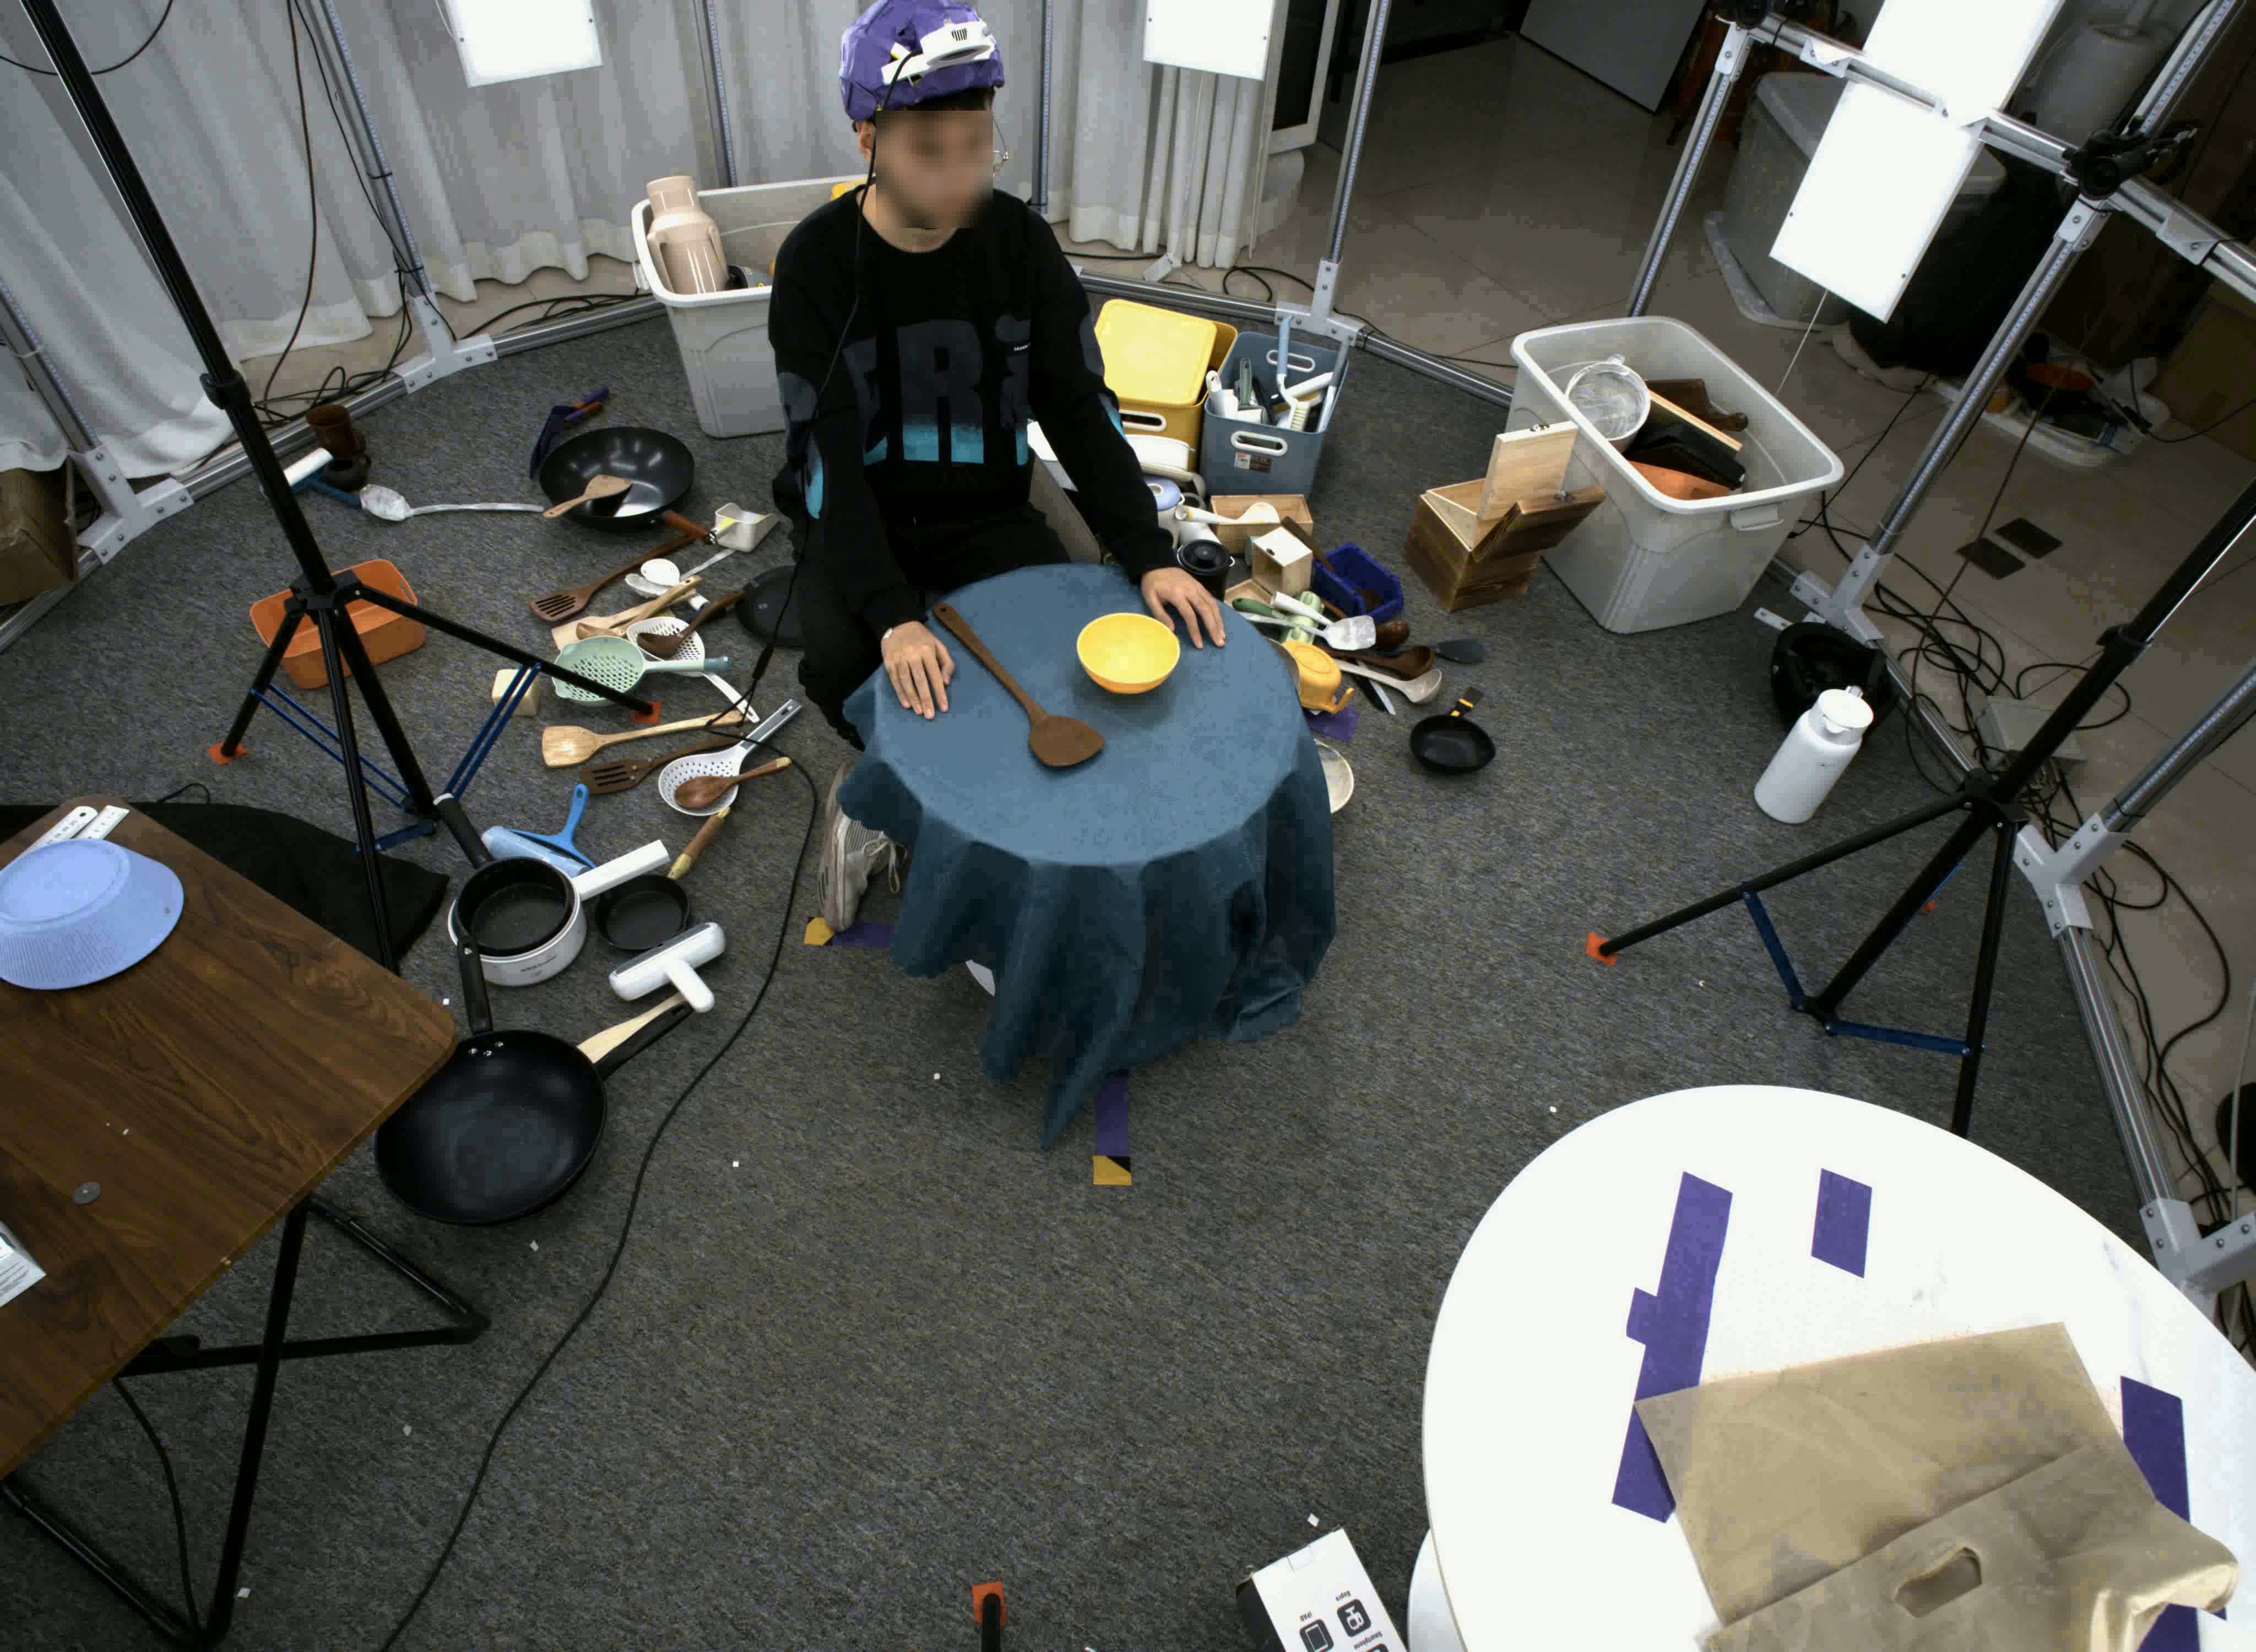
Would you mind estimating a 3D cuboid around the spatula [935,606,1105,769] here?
[{"bbox_3d":[-0.173,-0.209,1.846,0.096,0.015,0.393,-26,55,-25],"label":"spatula"}]

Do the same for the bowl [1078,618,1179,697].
[{"bbox_3d":[-0.002,-0.231,1.851,0.145,0.058,0.149,3,47,-4],"label":"bowl"}]
